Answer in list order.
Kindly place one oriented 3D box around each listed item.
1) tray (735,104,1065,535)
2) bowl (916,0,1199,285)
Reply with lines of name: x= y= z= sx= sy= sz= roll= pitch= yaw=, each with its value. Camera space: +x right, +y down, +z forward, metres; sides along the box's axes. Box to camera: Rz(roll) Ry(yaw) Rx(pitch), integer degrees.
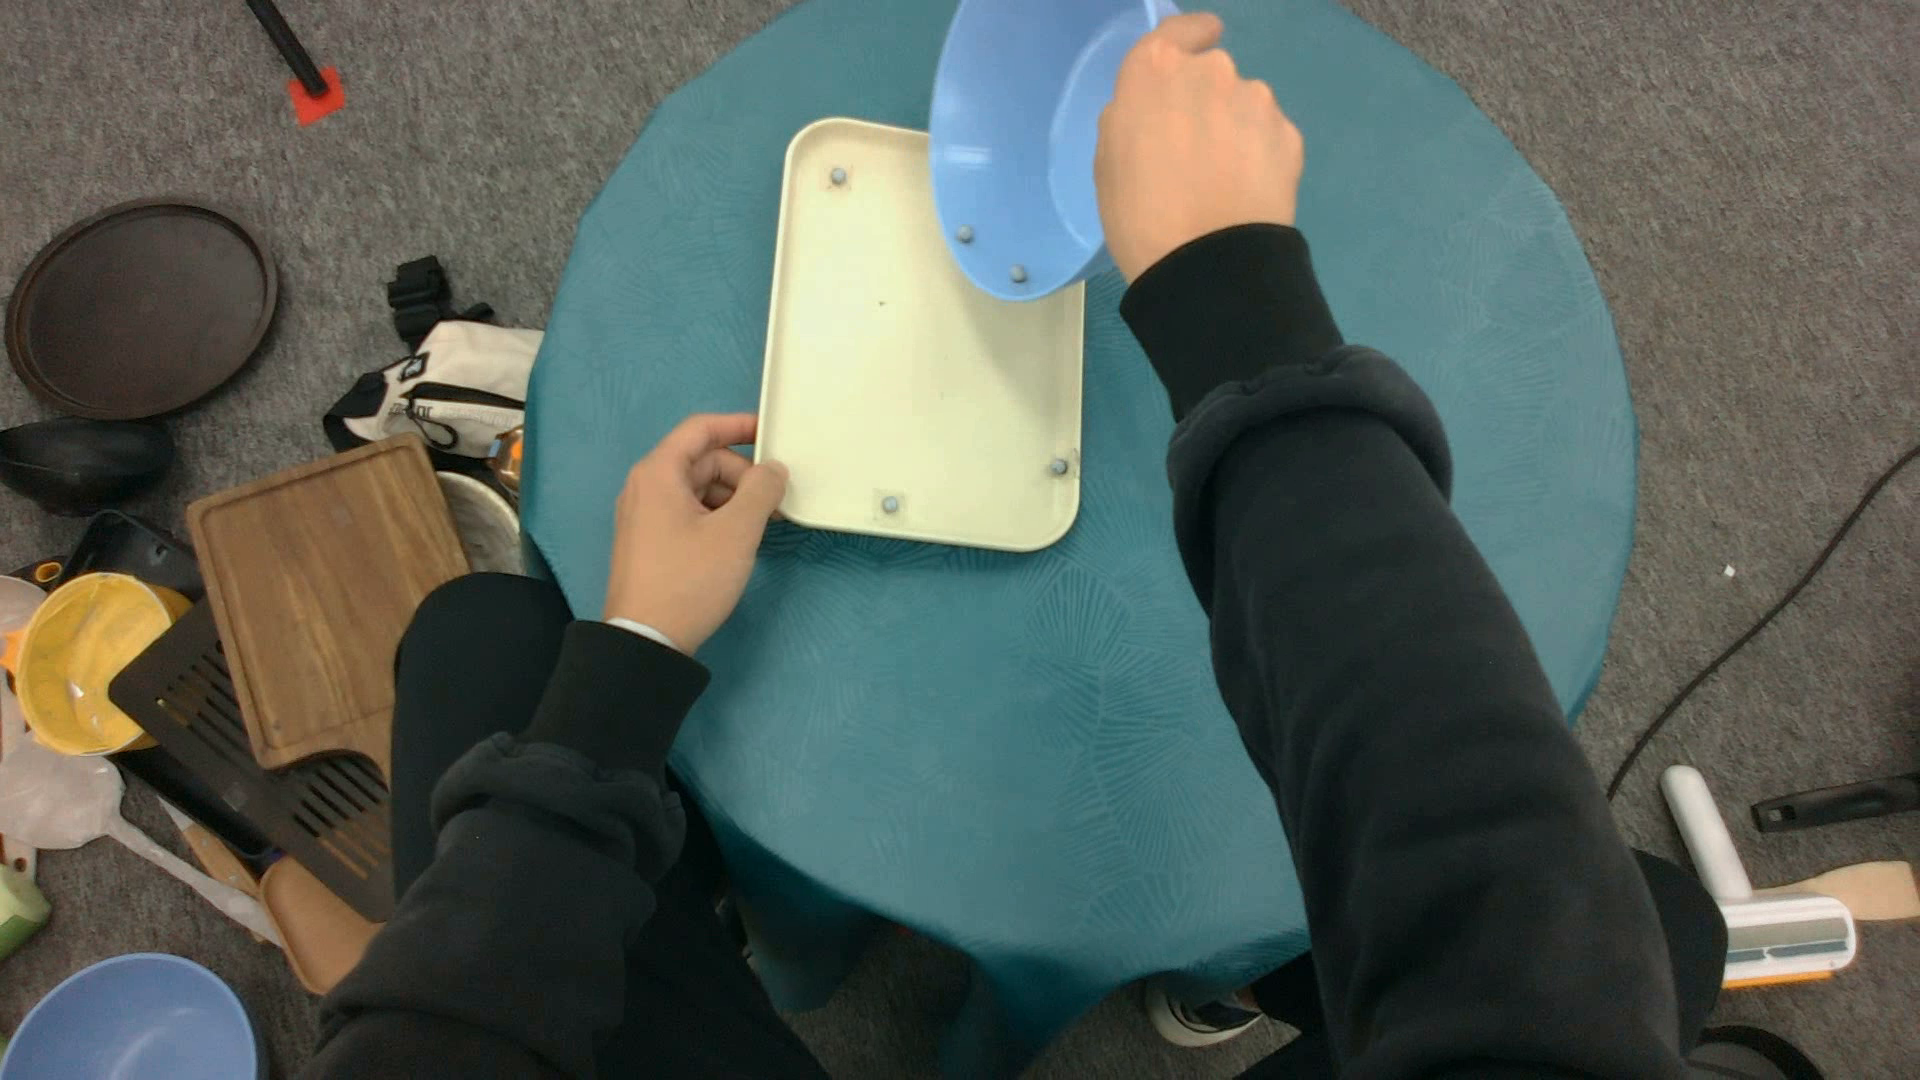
tray: x=-0.028 y=-0.119 z=0.736 sx=0.171 sy=0.017 sz=0.240 roll=6 pitch=71 yaw=-11
bowl: x=0.053 y=-0.210 z=0.672 sx=0.070 sy=0.175 sz=0.176 roll=0 pitch=68 yaw=-35
